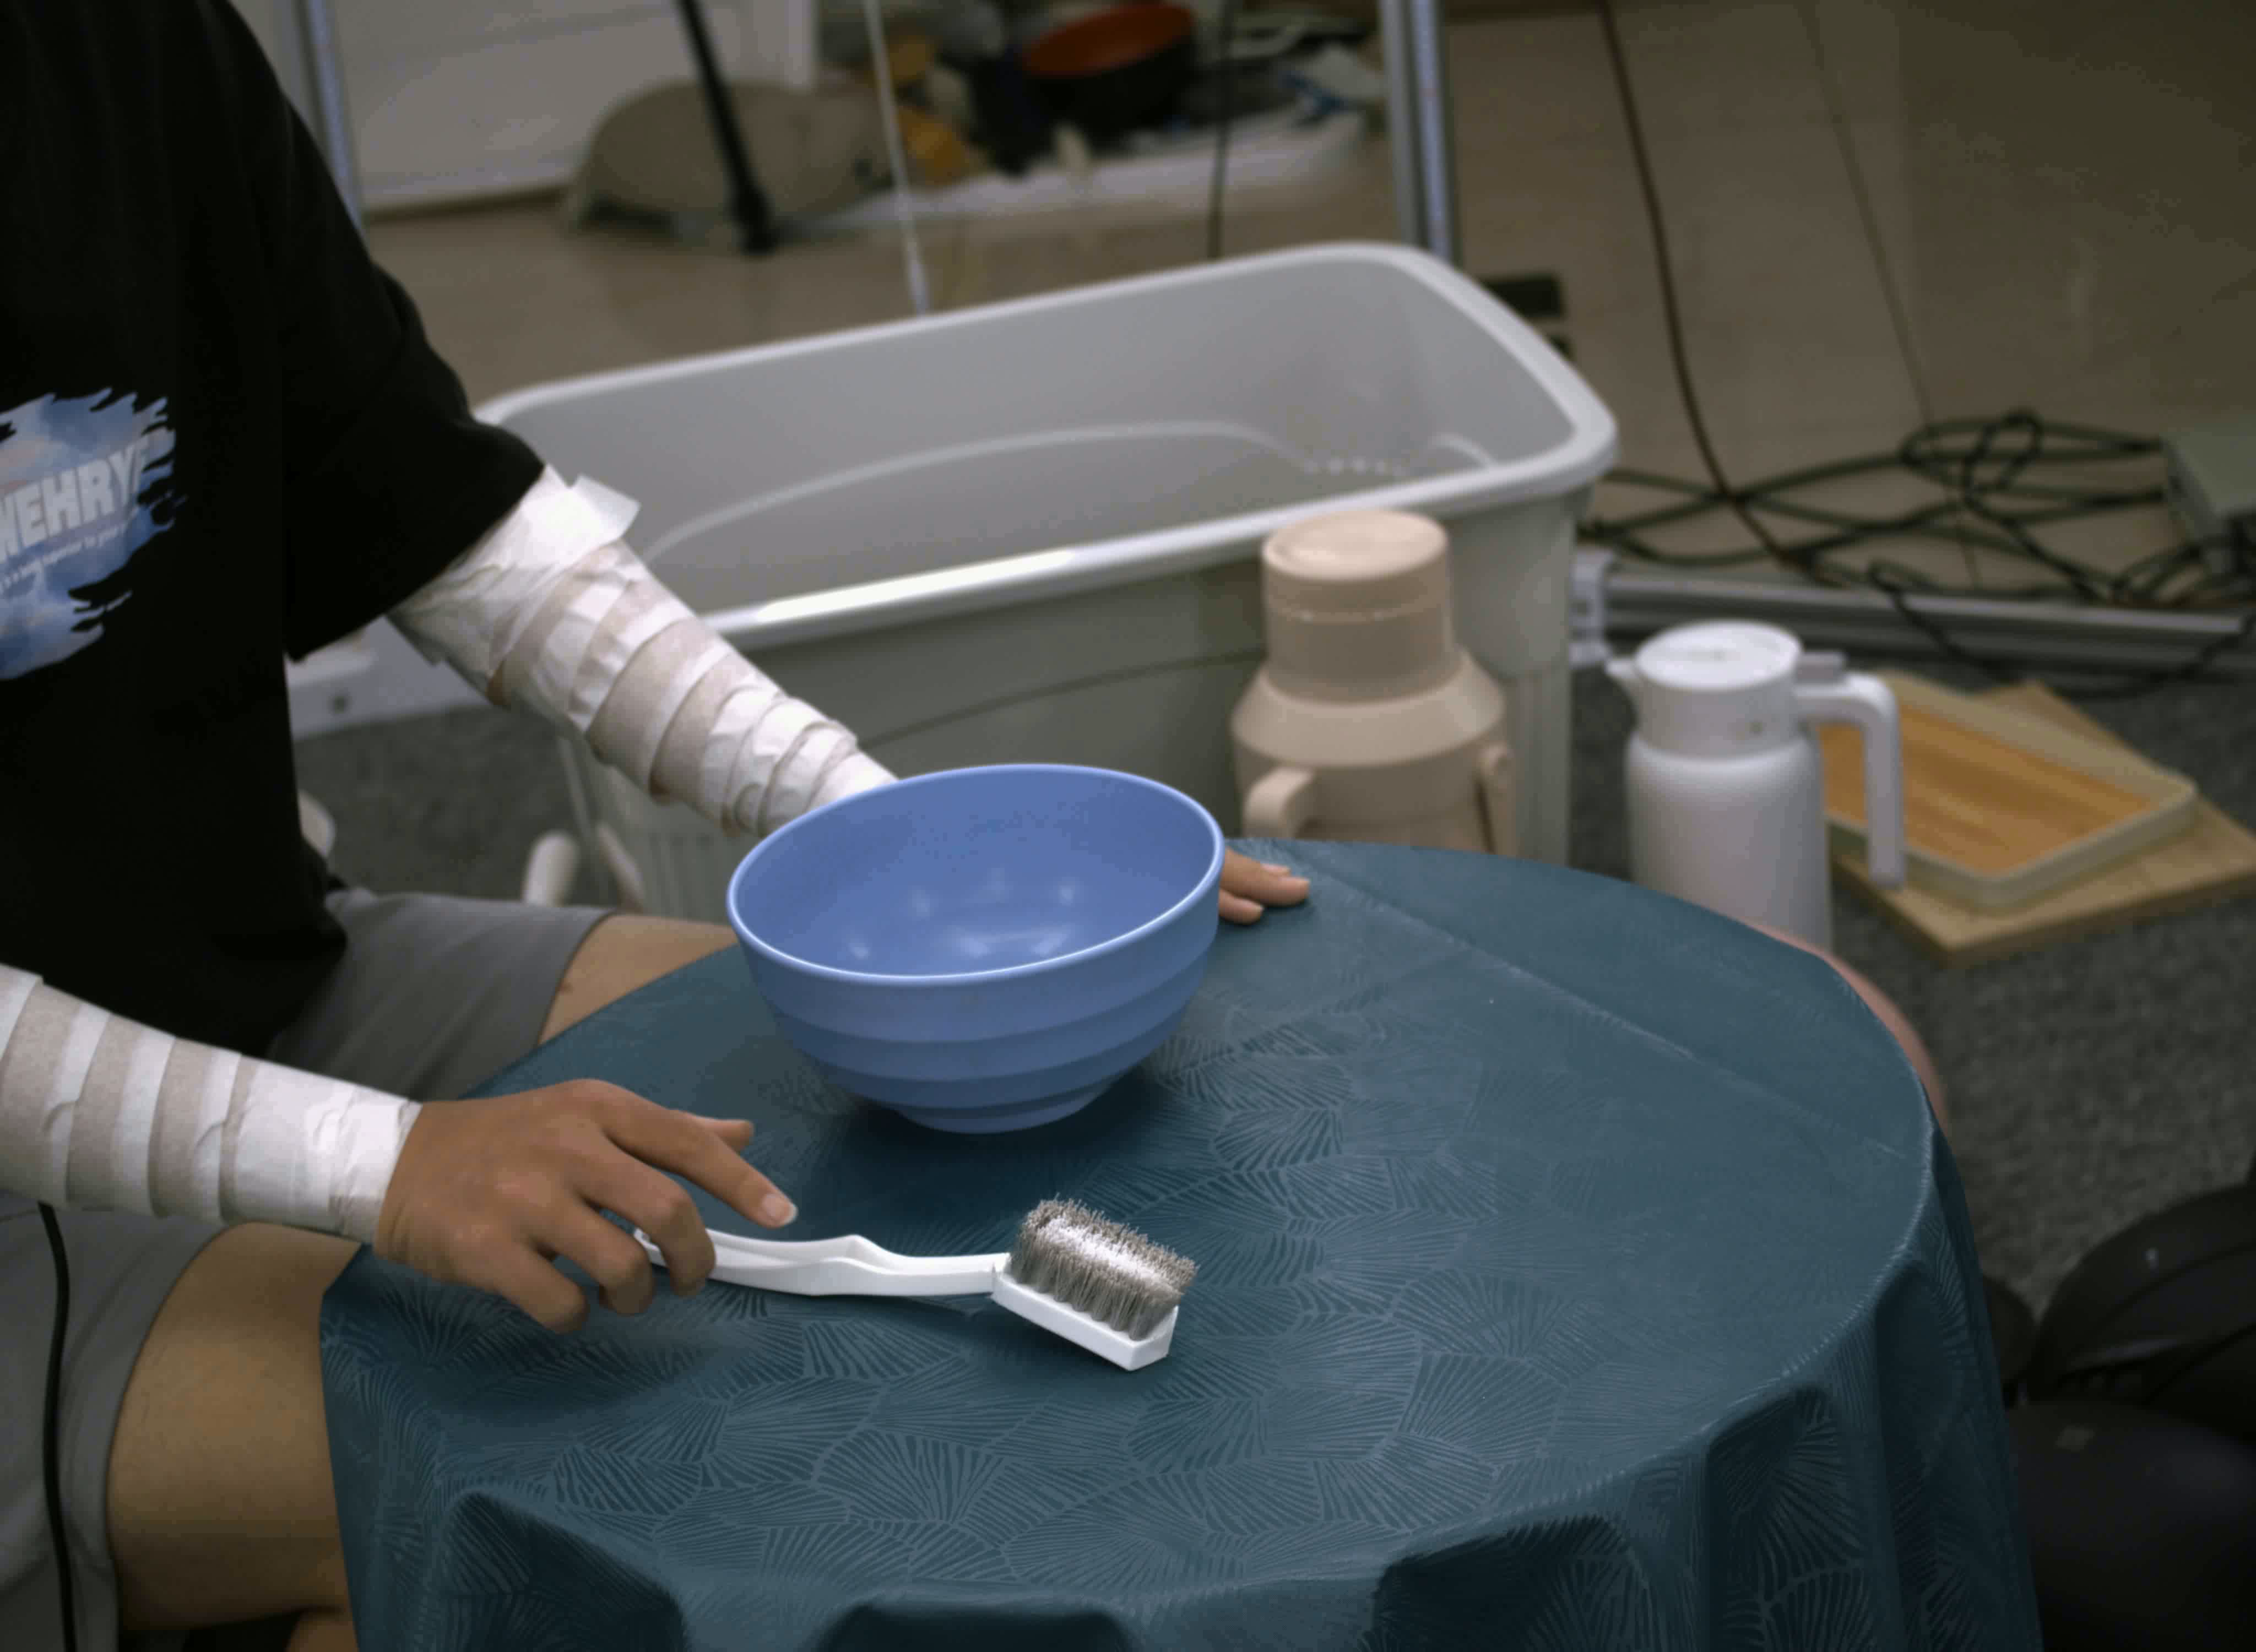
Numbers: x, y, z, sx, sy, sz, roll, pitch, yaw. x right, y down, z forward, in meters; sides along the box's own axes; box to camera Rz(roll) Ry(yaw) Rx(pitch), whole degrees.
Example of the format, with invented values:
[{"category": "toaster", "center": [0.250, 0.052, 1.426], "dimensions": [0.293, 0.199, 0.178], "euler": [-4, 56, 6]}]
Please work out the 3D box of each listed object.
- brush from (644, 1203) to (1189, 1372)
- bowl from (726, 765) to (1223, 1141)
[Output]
[{"category": "brush", "center": [-0.083, 0.152, 2.081], "dimensions": [0.242, 0.051, 0.034], "euler": [11, 33, 33]}, {"category": "bowl", "center": [-0.054, 0.060, 2.224], "dimensions": [0.196, 0.097, 0.193], "euler": [-7, 26, 4]}]
